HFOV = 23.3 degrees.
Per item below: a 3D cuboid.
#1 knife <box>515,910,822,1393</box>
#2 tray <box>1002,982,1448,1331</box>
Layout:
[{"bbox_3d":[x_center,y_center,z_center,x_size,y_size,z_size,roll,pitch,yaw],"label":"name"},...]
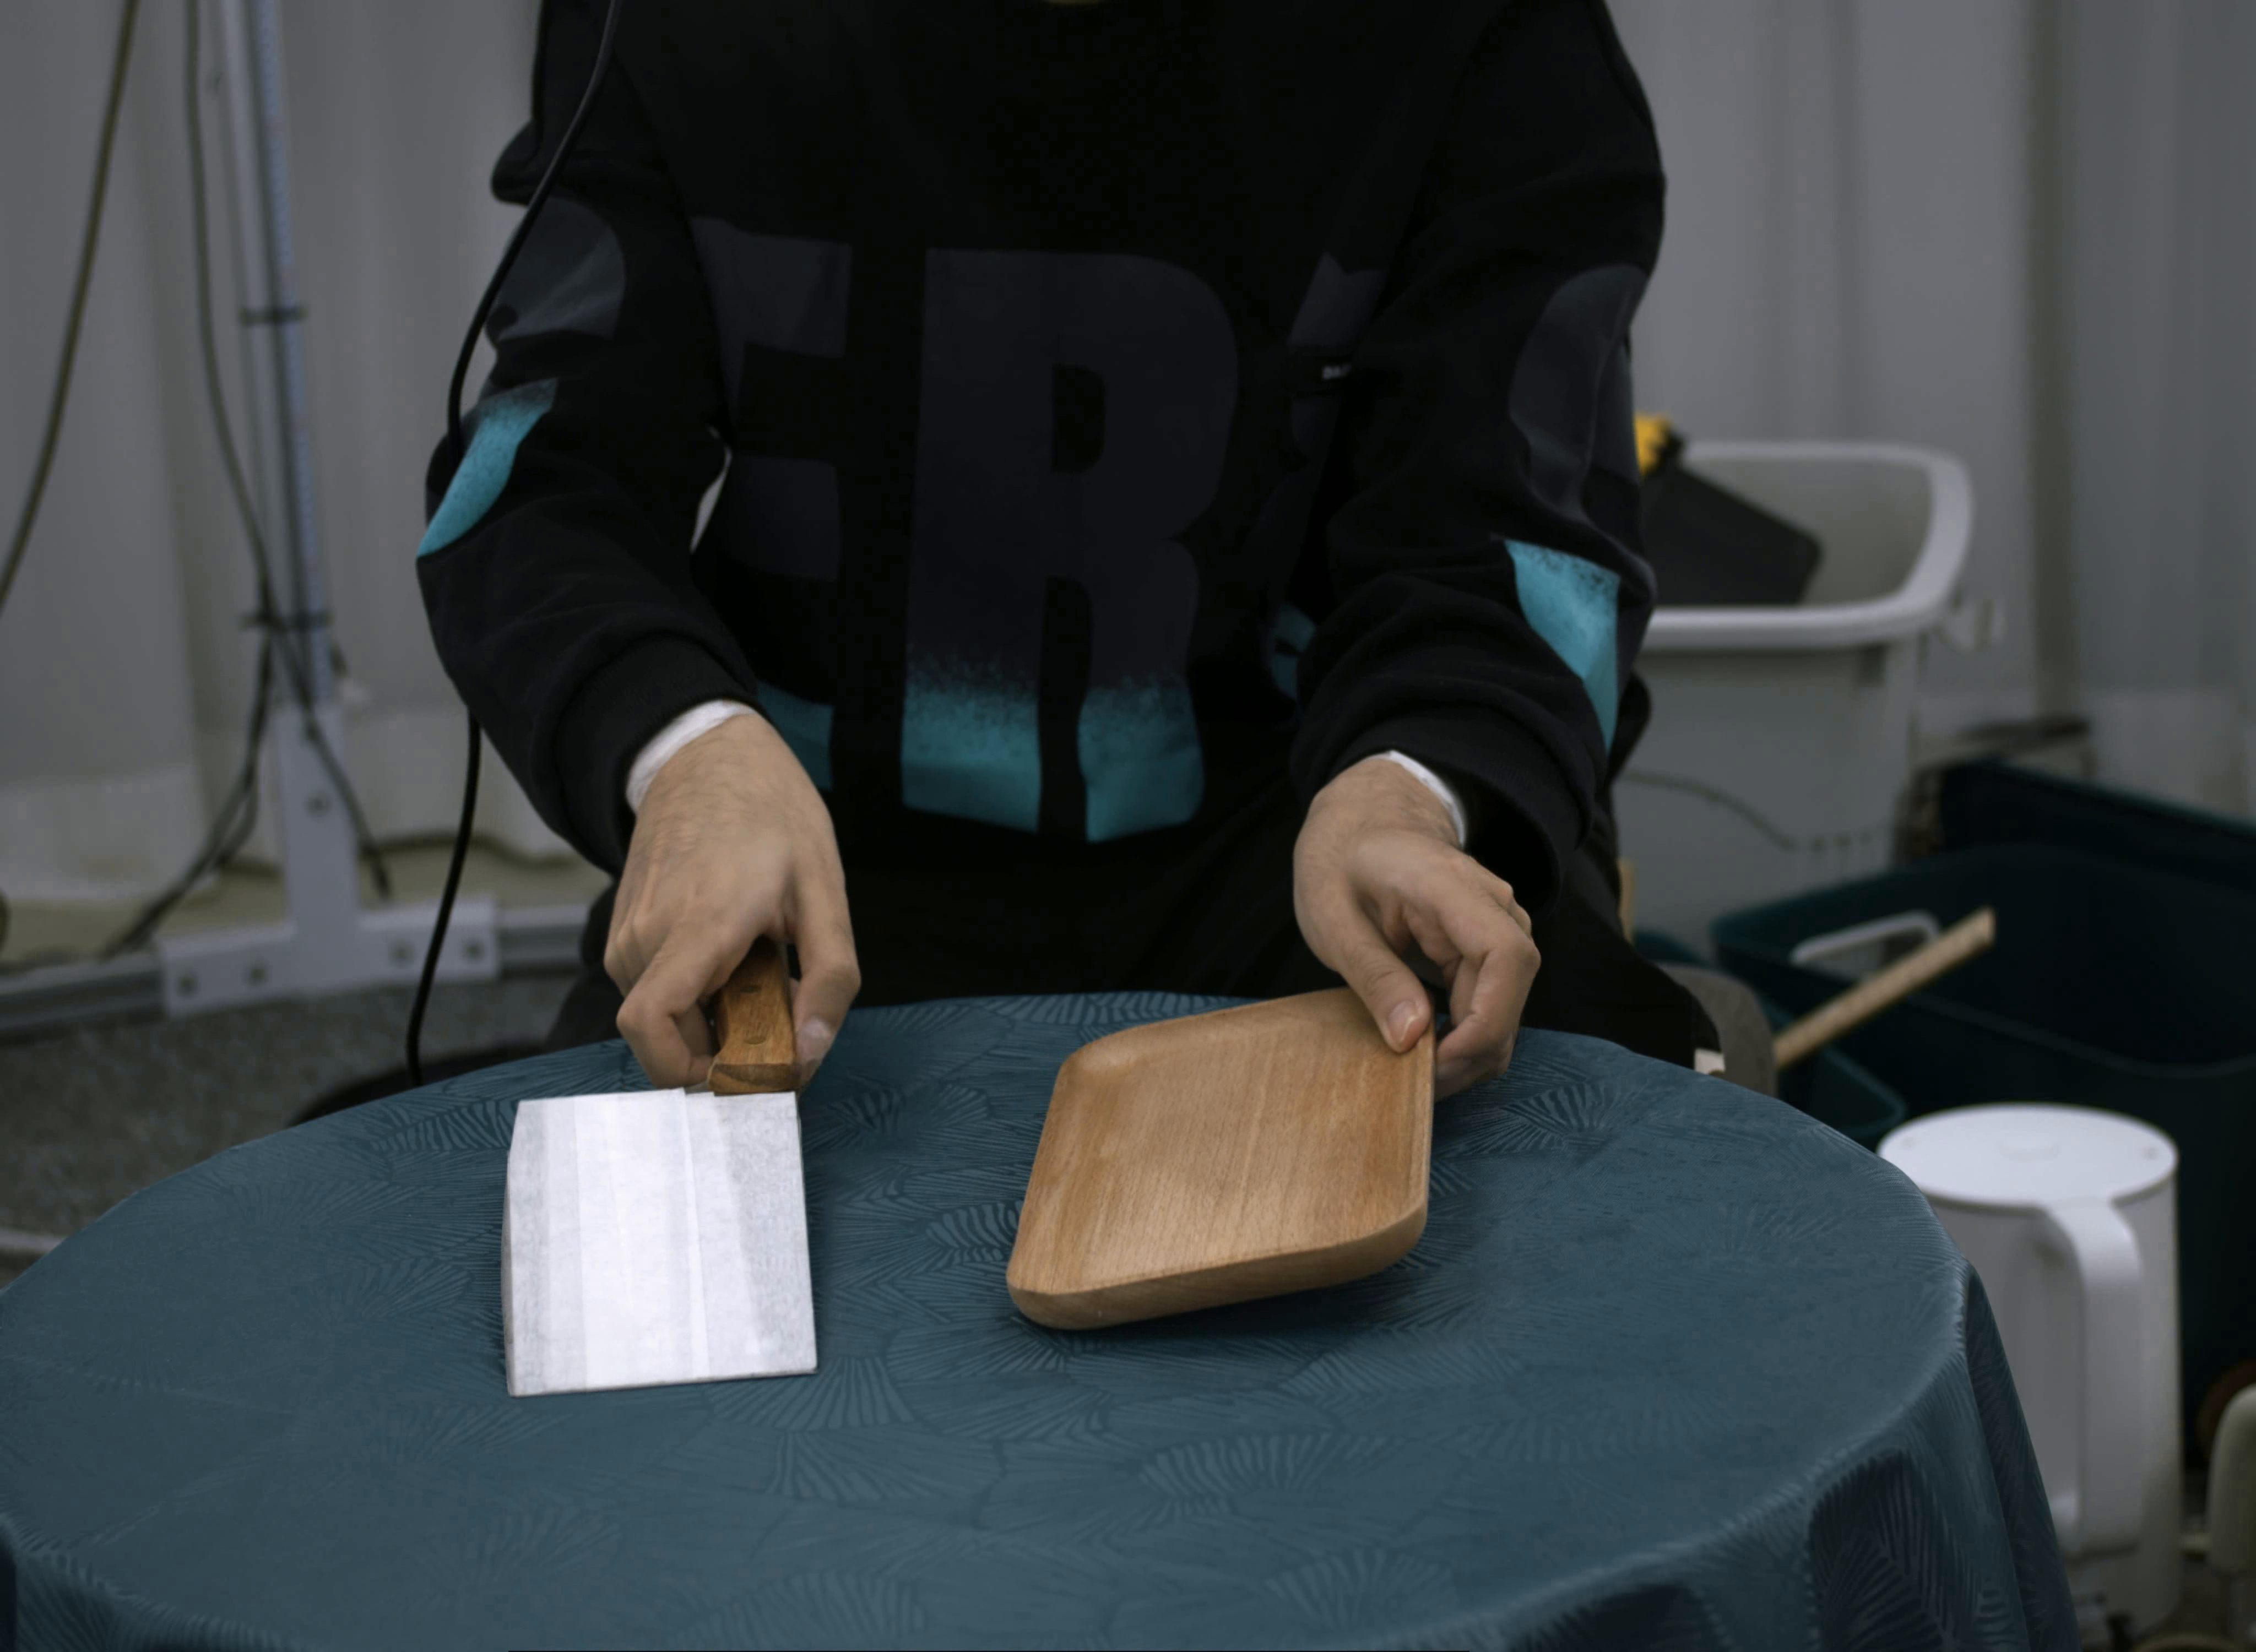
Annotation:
[{"bbox_3d":[-0.145,0.099,1.708,0.092,0.021,0.309,-4,24,-3],"label":"knife"},{"bbox_3d":[0.034,0.100,1.695,0.130,0.023,0.252,-9,14,8],"label":"tray"}]
